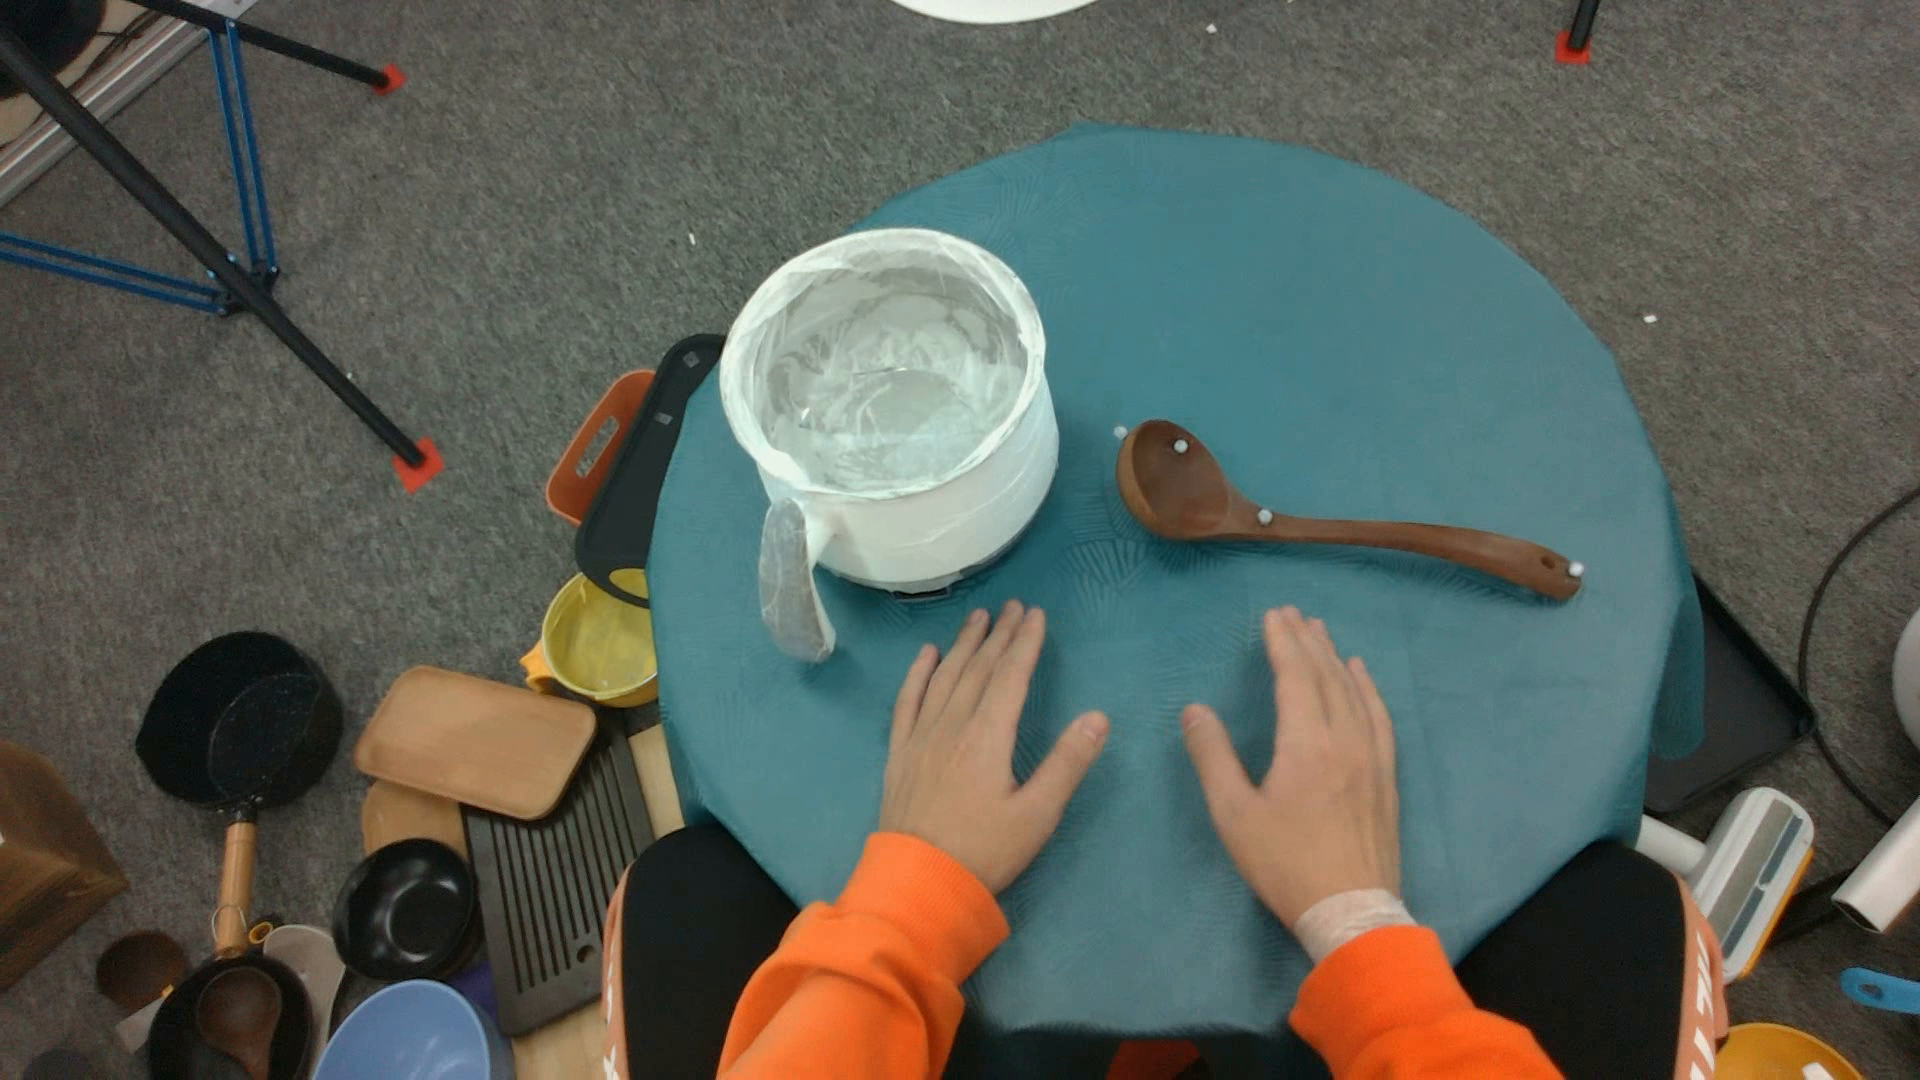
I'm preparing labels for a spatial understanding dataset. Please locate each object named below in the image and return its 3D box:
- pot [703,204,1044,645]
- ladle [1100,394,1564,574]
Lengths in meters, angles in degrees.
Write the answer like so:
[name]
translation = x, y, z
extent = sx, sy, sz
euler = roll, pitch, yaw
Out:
[pot]
translation = -0.054, -0.058, 0.779
extent = 0.178, 0.136, 0.234
euler = 20, 67, 17
[ladle]
translation = 0.206, -0.028, 0.768
extent = 0.260, 0.065, 0.077
euler = 11, 58, 14
